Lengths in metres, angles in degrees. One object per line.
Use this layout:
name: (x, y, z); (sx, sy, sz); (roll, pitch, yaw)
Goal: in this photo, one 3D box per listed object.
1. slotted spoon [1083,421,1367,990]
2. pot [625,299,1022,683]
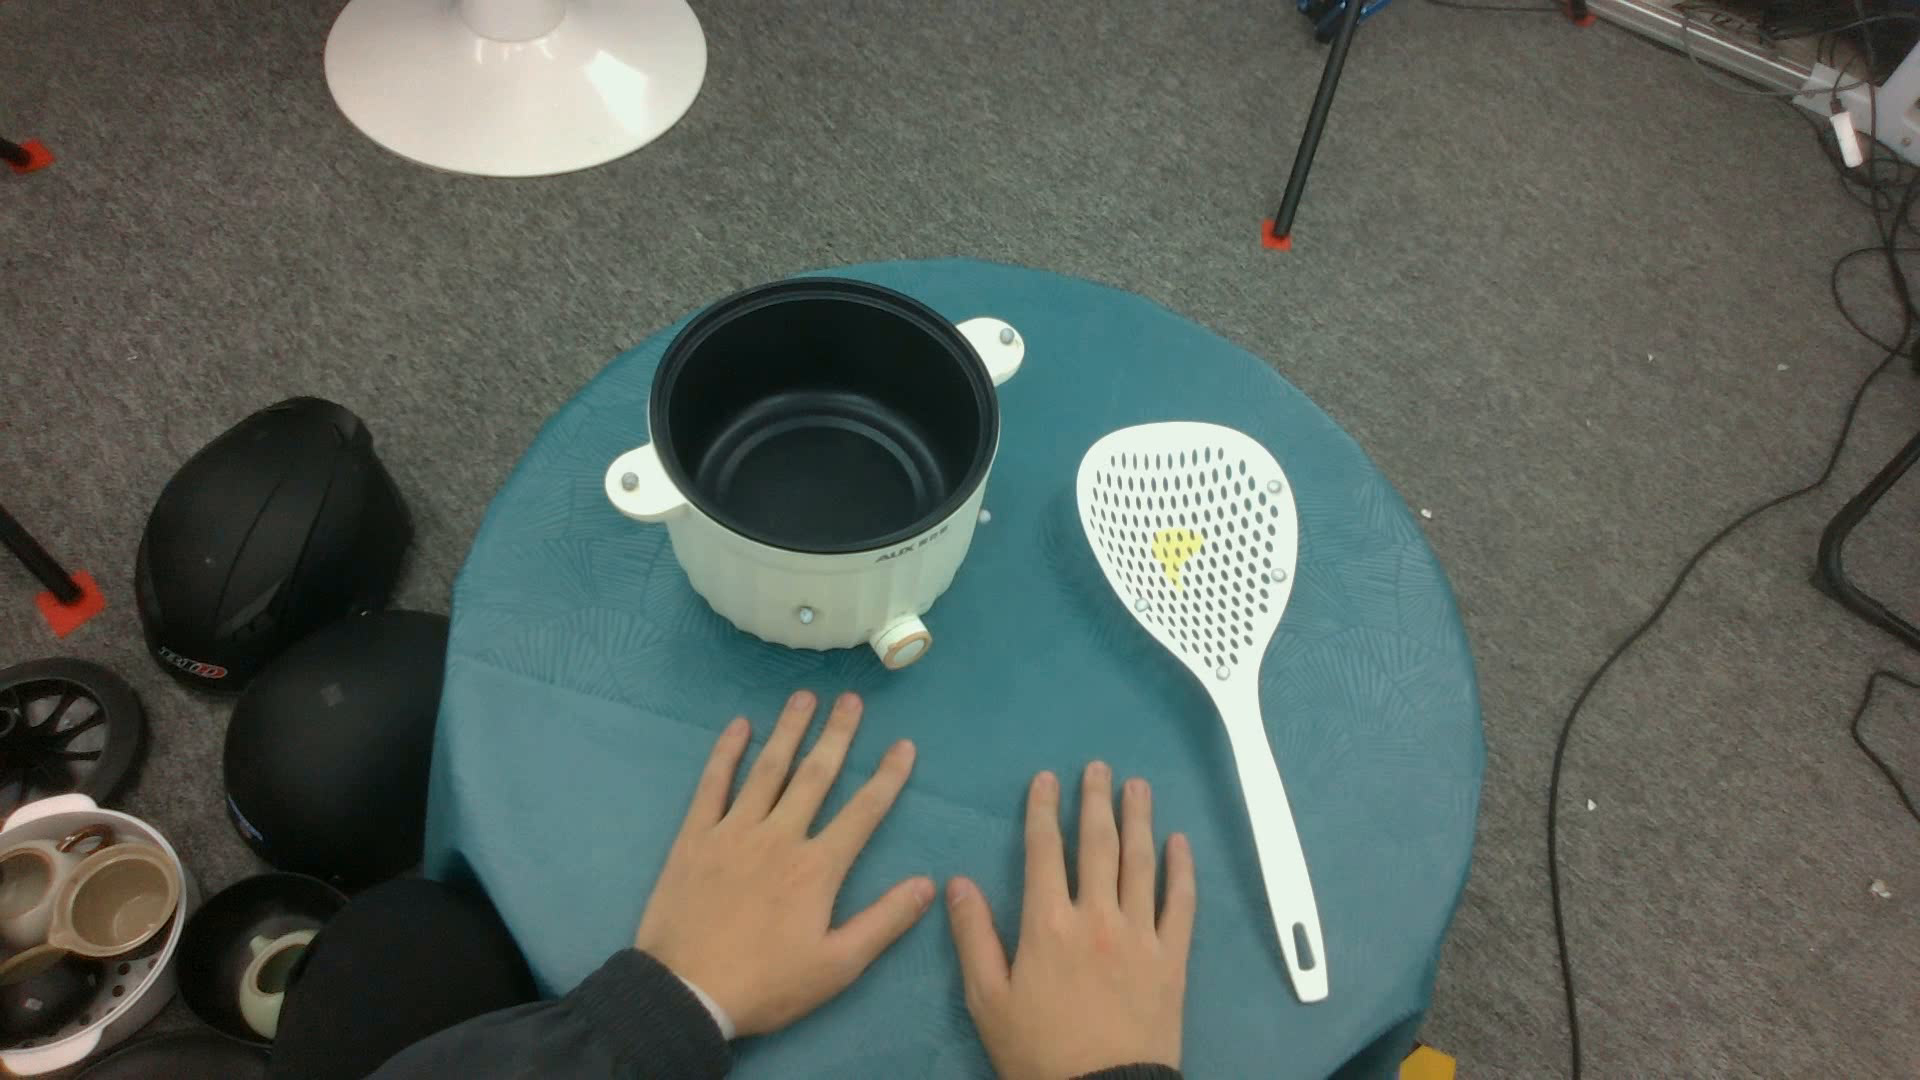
slotted spoon: (0.164, 0.080, 0.792); (0.137, 0.050, 0.349); (-8, 56, -10)
pot: (-0.067, -0.019, 0.781); (0.241, 0.142, 0.191); (-29, 60, -21)
